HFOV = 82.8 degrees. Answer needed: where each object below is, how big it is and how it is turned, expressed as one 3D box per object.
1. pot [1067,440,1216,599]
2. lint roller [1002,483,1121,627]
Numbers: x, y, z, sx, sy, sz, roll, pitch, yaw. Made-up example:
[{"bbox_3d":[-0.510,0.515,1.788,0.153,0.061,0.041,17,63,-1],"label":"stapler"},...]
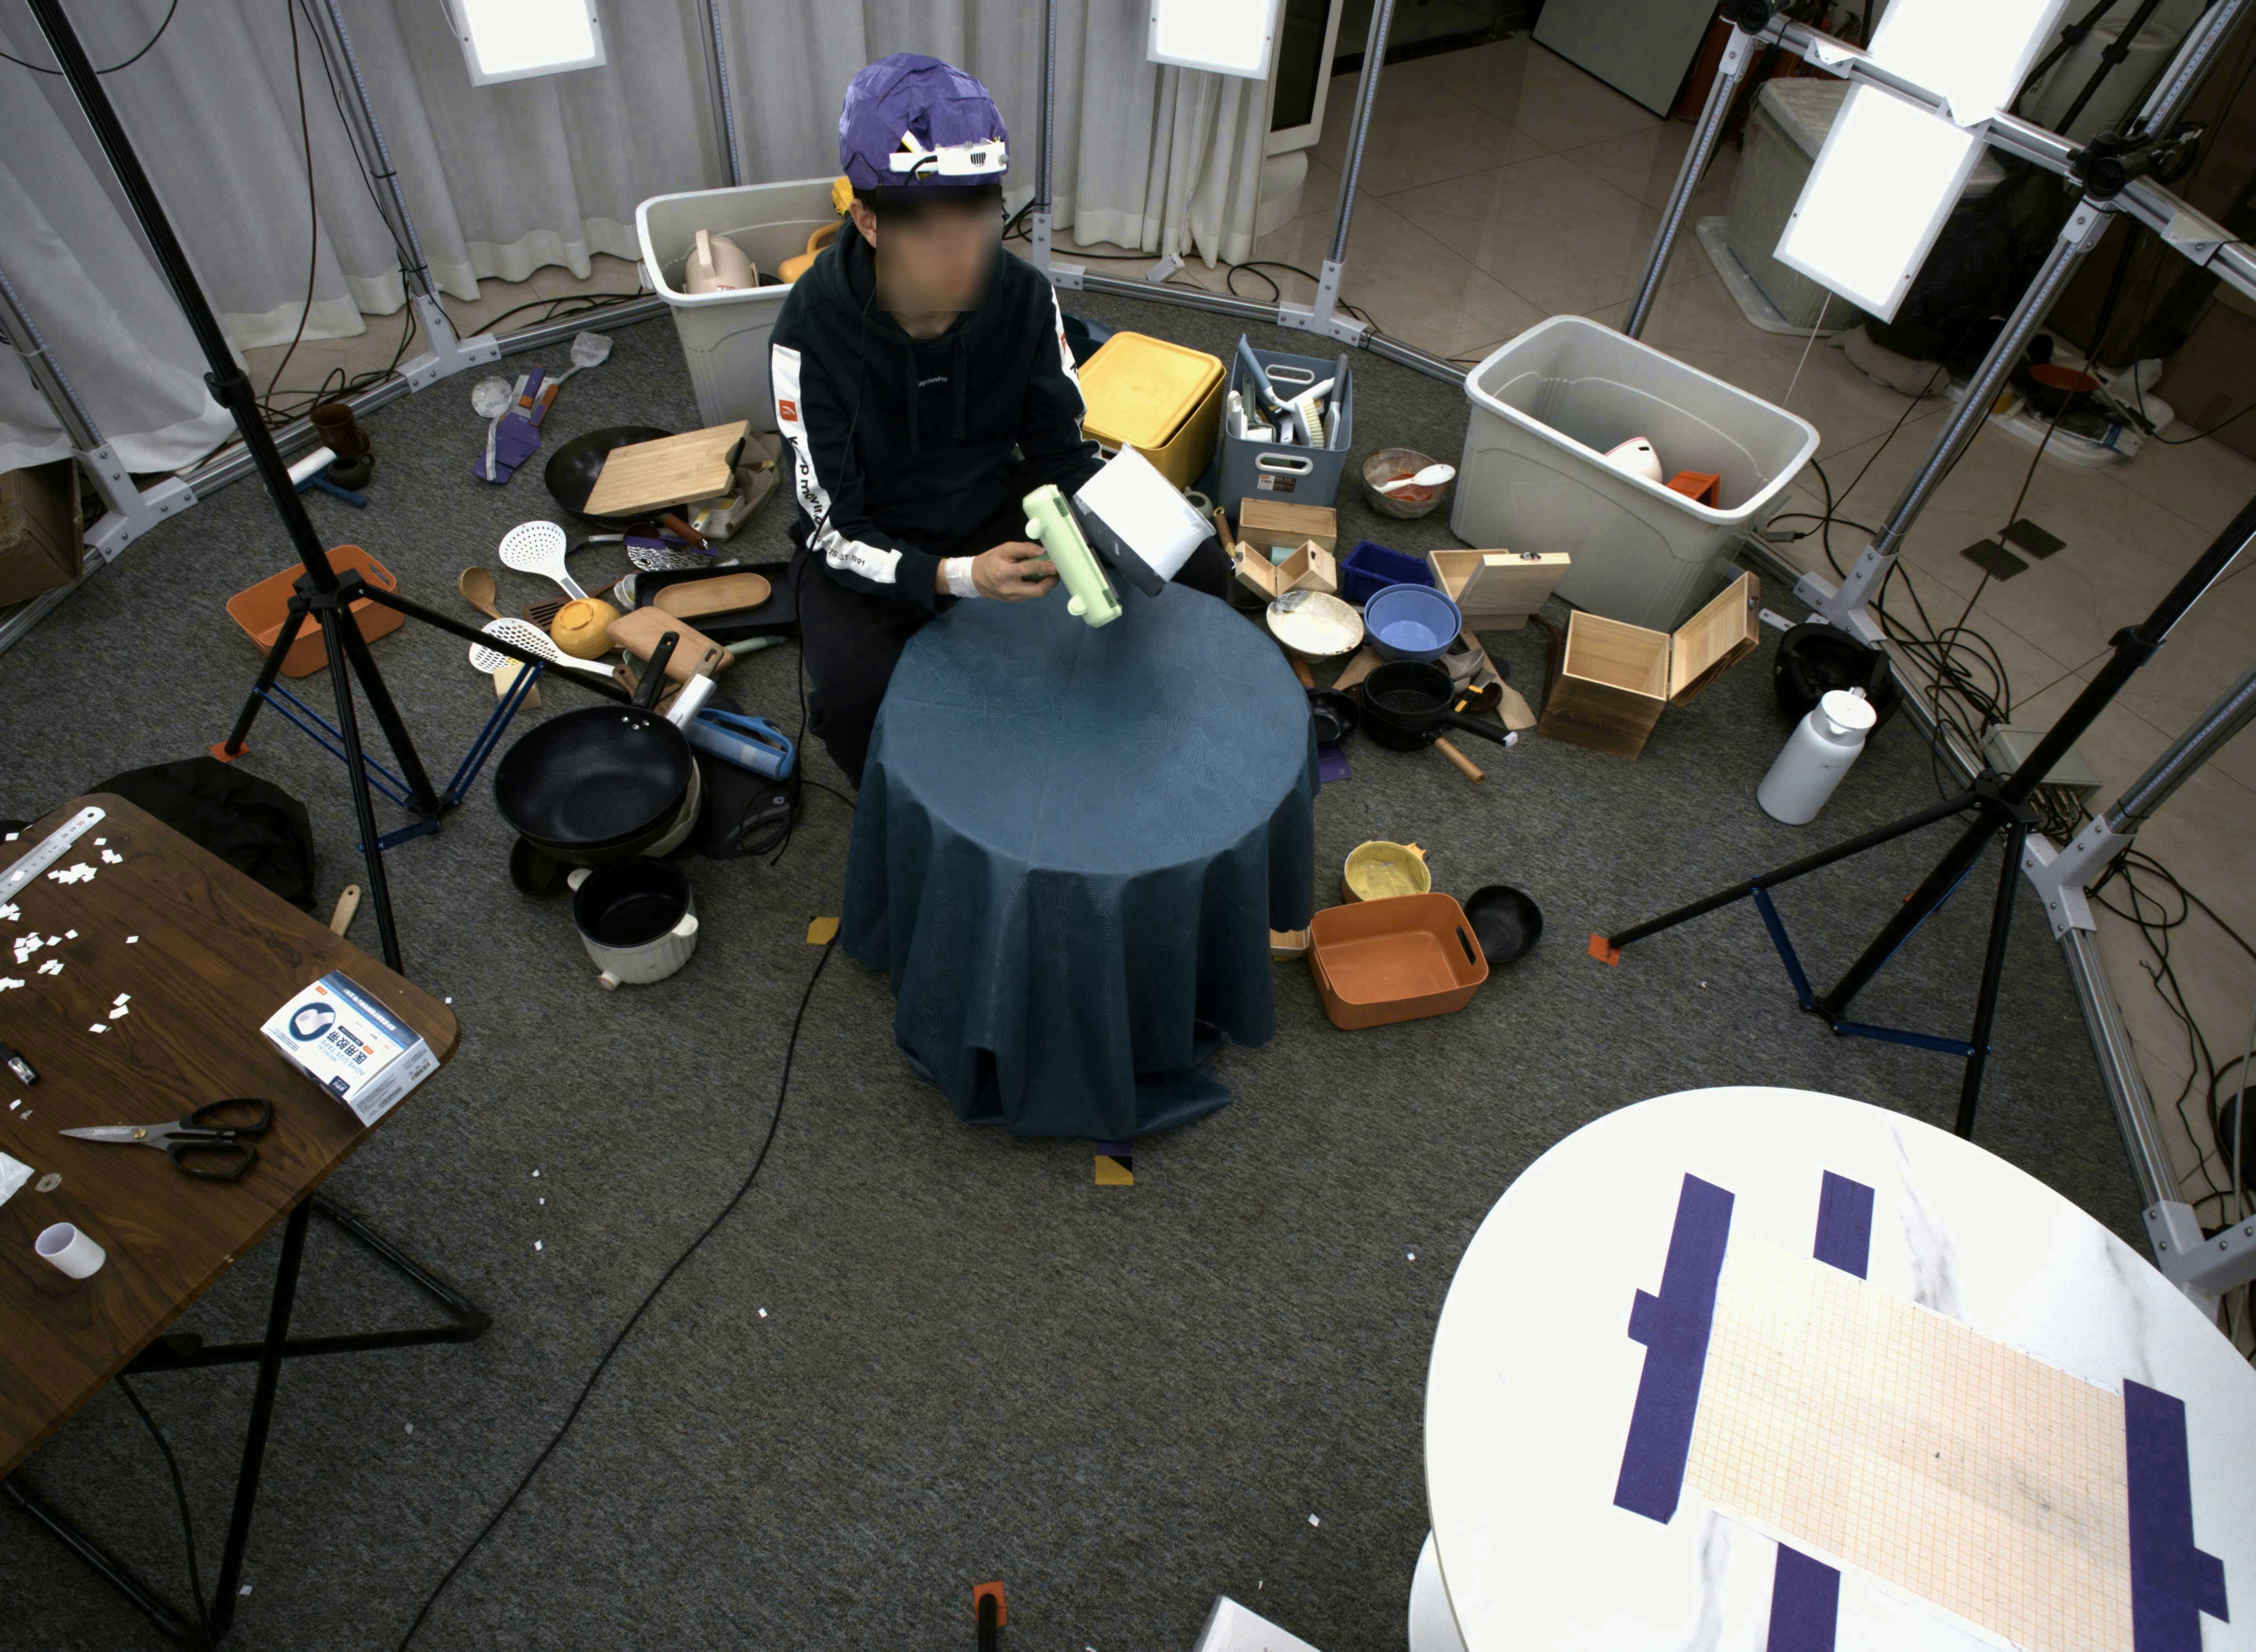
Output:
[{"bbox_3d":[0.016,-0.425,1.802,0.178,0.136,0.235,44,10,-2],"label":"pot"},{"bbox_3d":[-0.120,-0.347,1.746,0.183,0.196,0.083,-14,24,40],"label":"lint roller"}]
